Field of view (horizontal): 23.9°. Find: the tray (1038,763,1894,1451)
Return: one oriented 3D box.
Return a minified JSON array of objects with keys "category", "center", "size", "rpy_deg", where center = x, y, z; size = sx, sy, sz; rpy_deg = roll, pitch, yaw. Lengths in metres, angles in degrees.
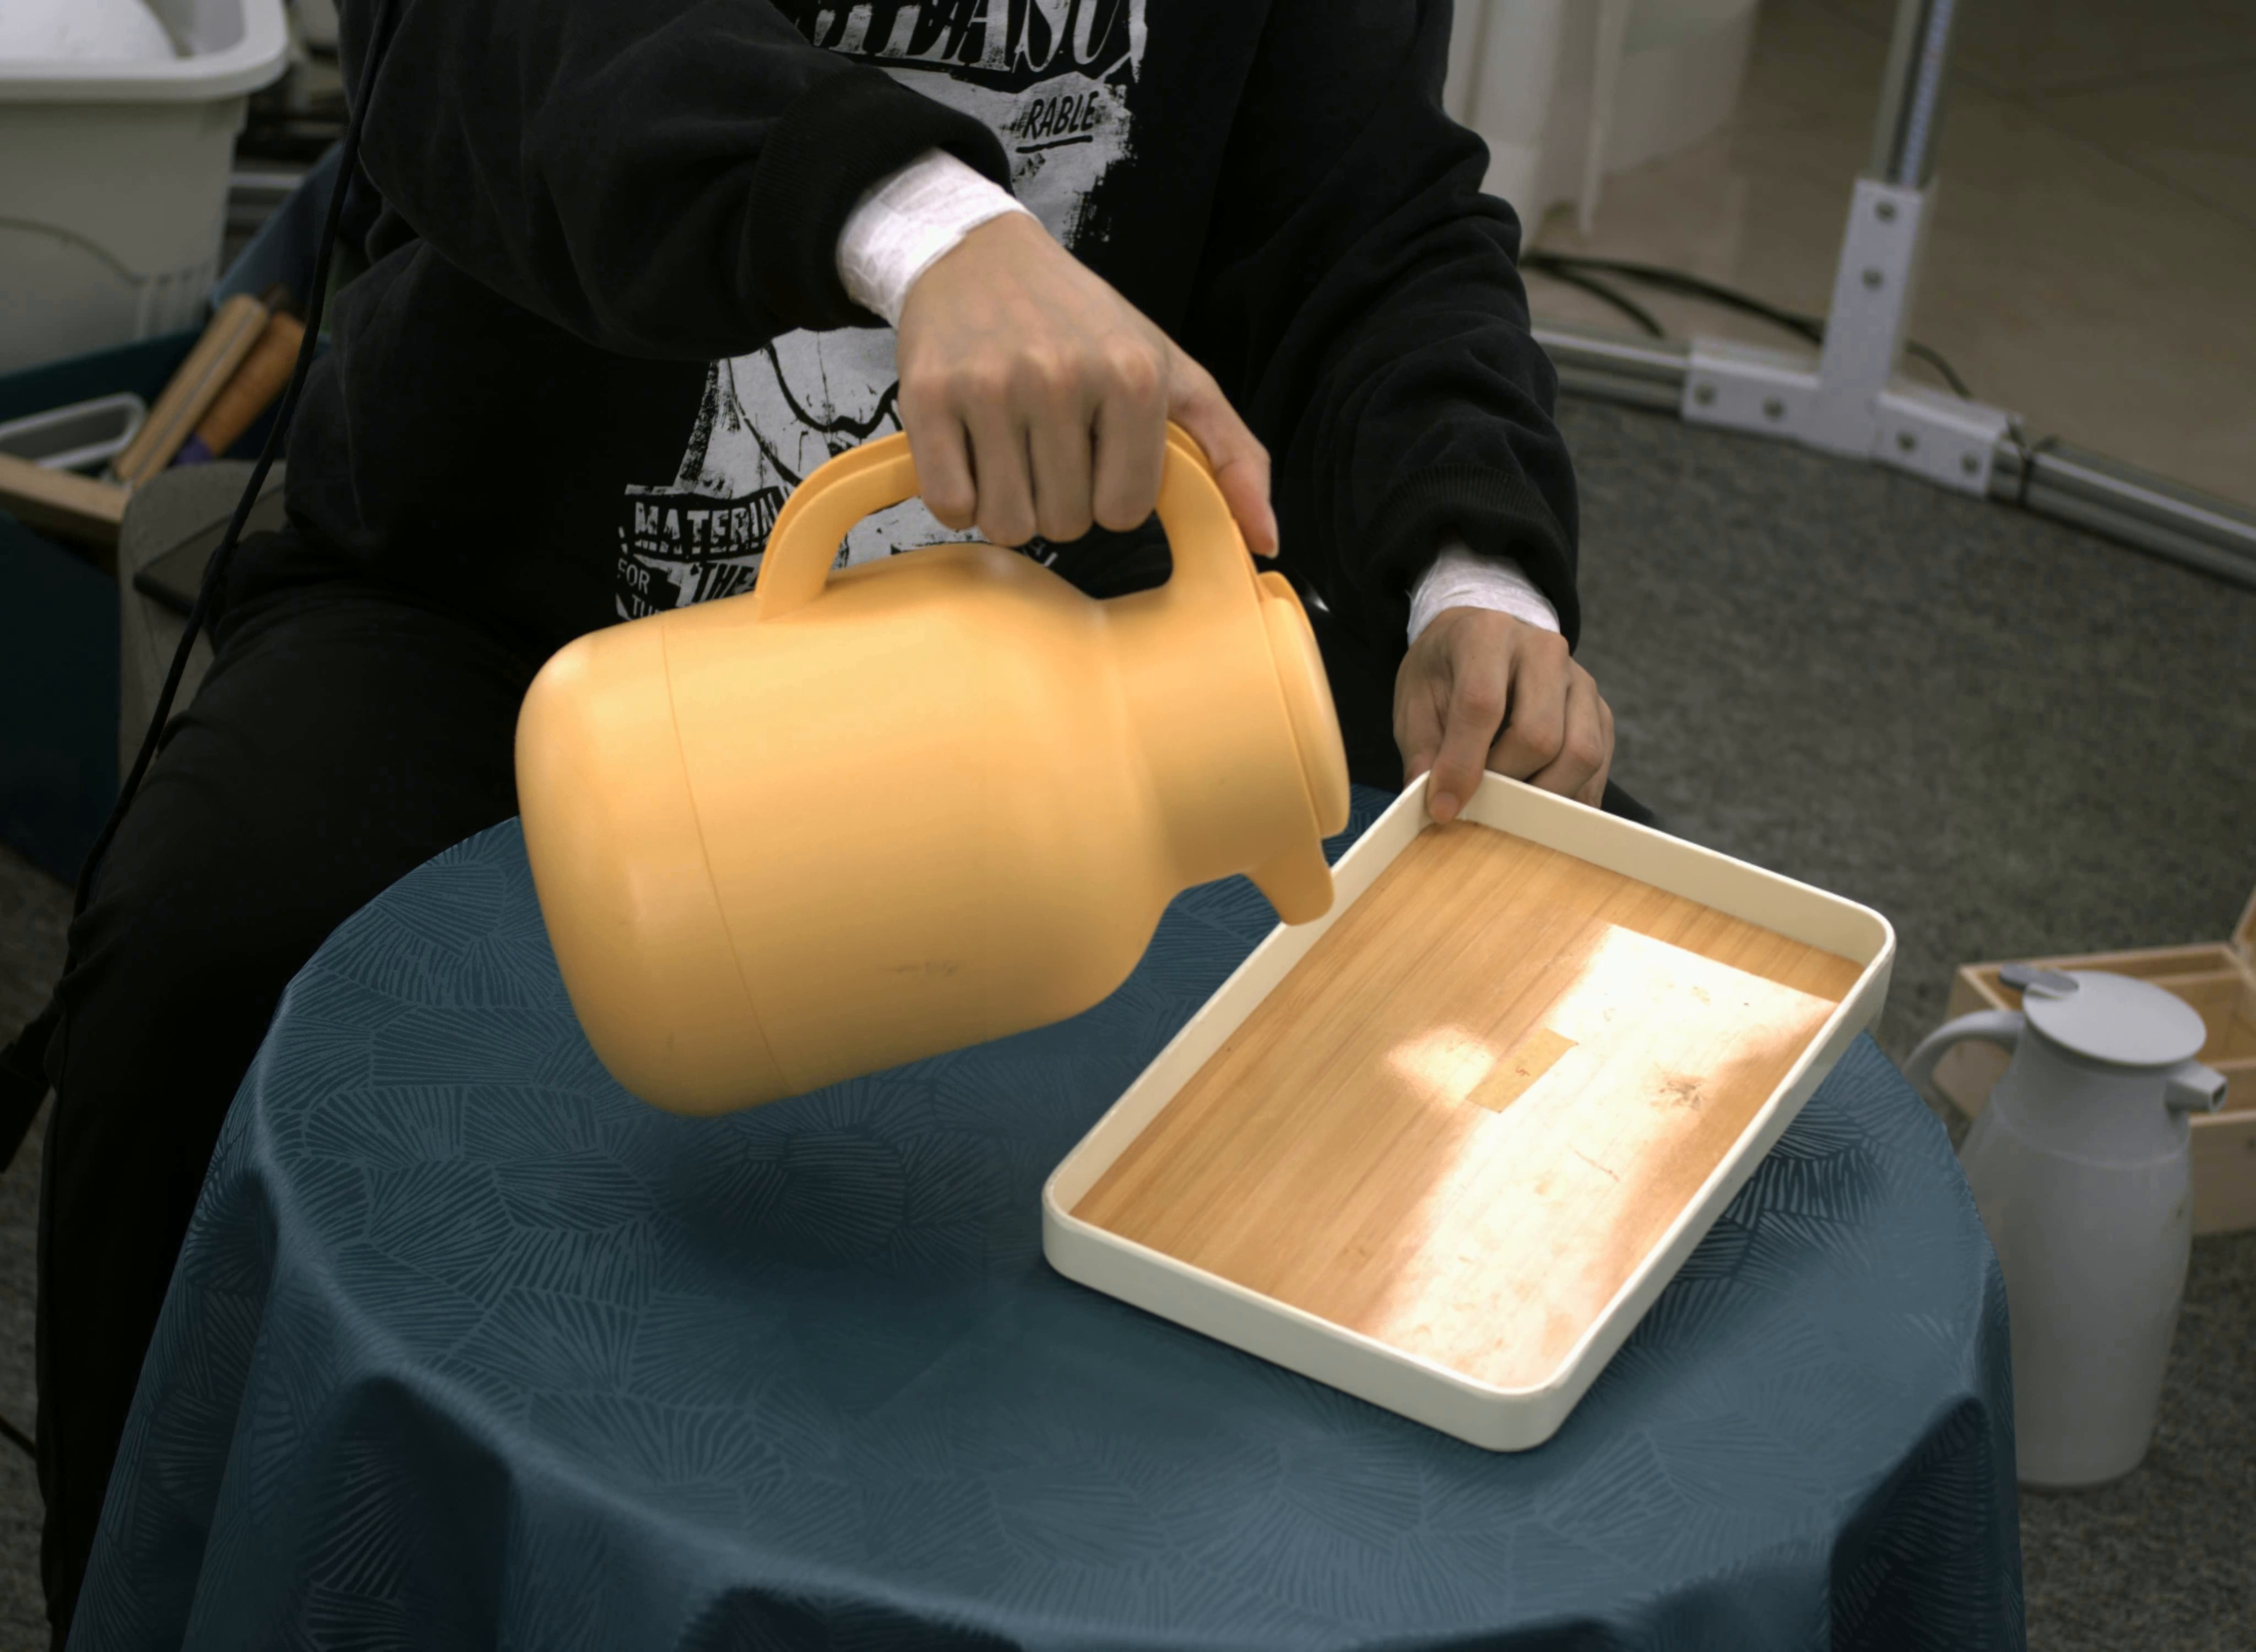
[{"category":"tray","center":[0.119,0.088,1.814],"size":[0.192,0.027,0.300],"rpy_deg":[20,40,23]}]

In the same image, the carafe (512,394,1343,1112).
[{"category":"carafe","center":[-0.066,-0.028,1.720],"size":[0.260,0.202,0.164],"rpy_deg":[-14,20,1]}]
